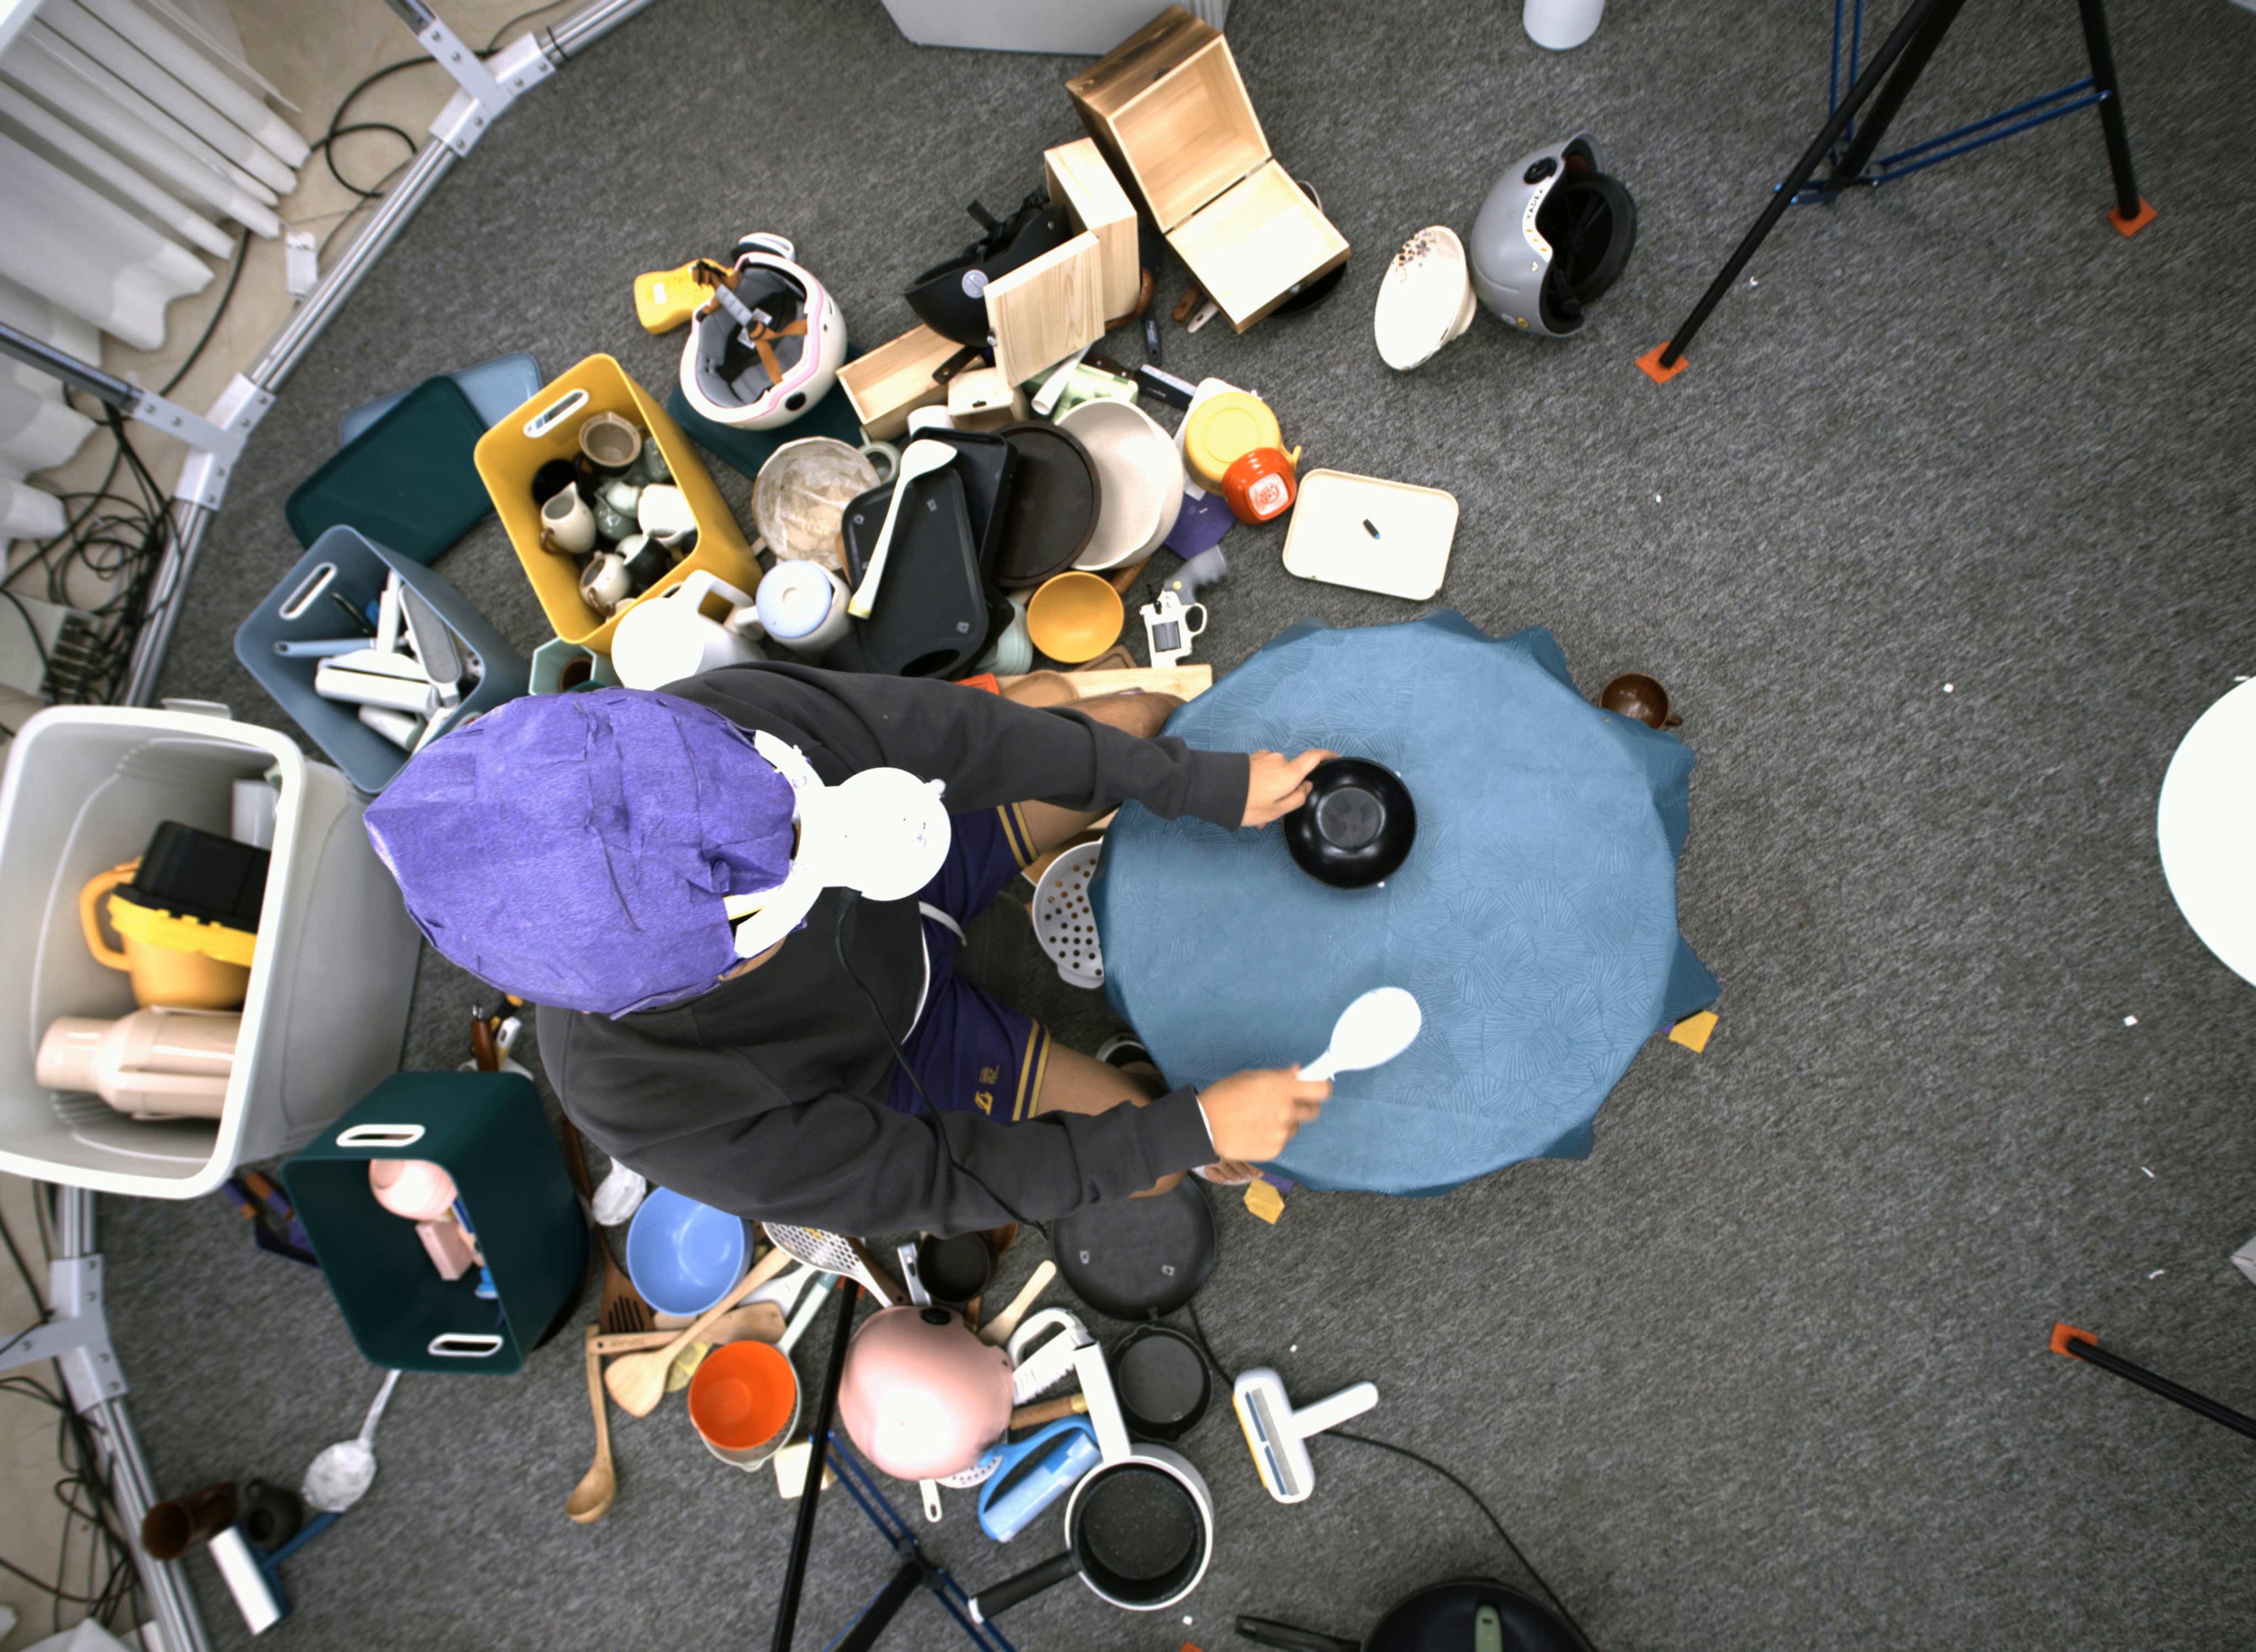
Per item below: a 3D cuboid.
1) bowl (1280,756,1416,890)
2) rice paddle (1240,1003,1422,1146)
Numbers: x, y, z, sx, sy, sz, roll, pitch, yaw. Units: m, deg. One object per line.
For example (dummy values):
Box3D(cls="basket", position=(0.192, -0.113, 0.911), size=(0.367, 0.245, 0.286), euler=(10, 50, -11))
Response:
Box3D(cls="bowl", position=(0.229, -0.007, 1.439), size=(0.140, 0.049, 0.141), euler=(2, 101, 12))
Box3D(cls="rice paddle", position=(0.201, 0.240, 1.361), size=(0.206, 0.030, 0.067), euler=(-36, 44, 3))
